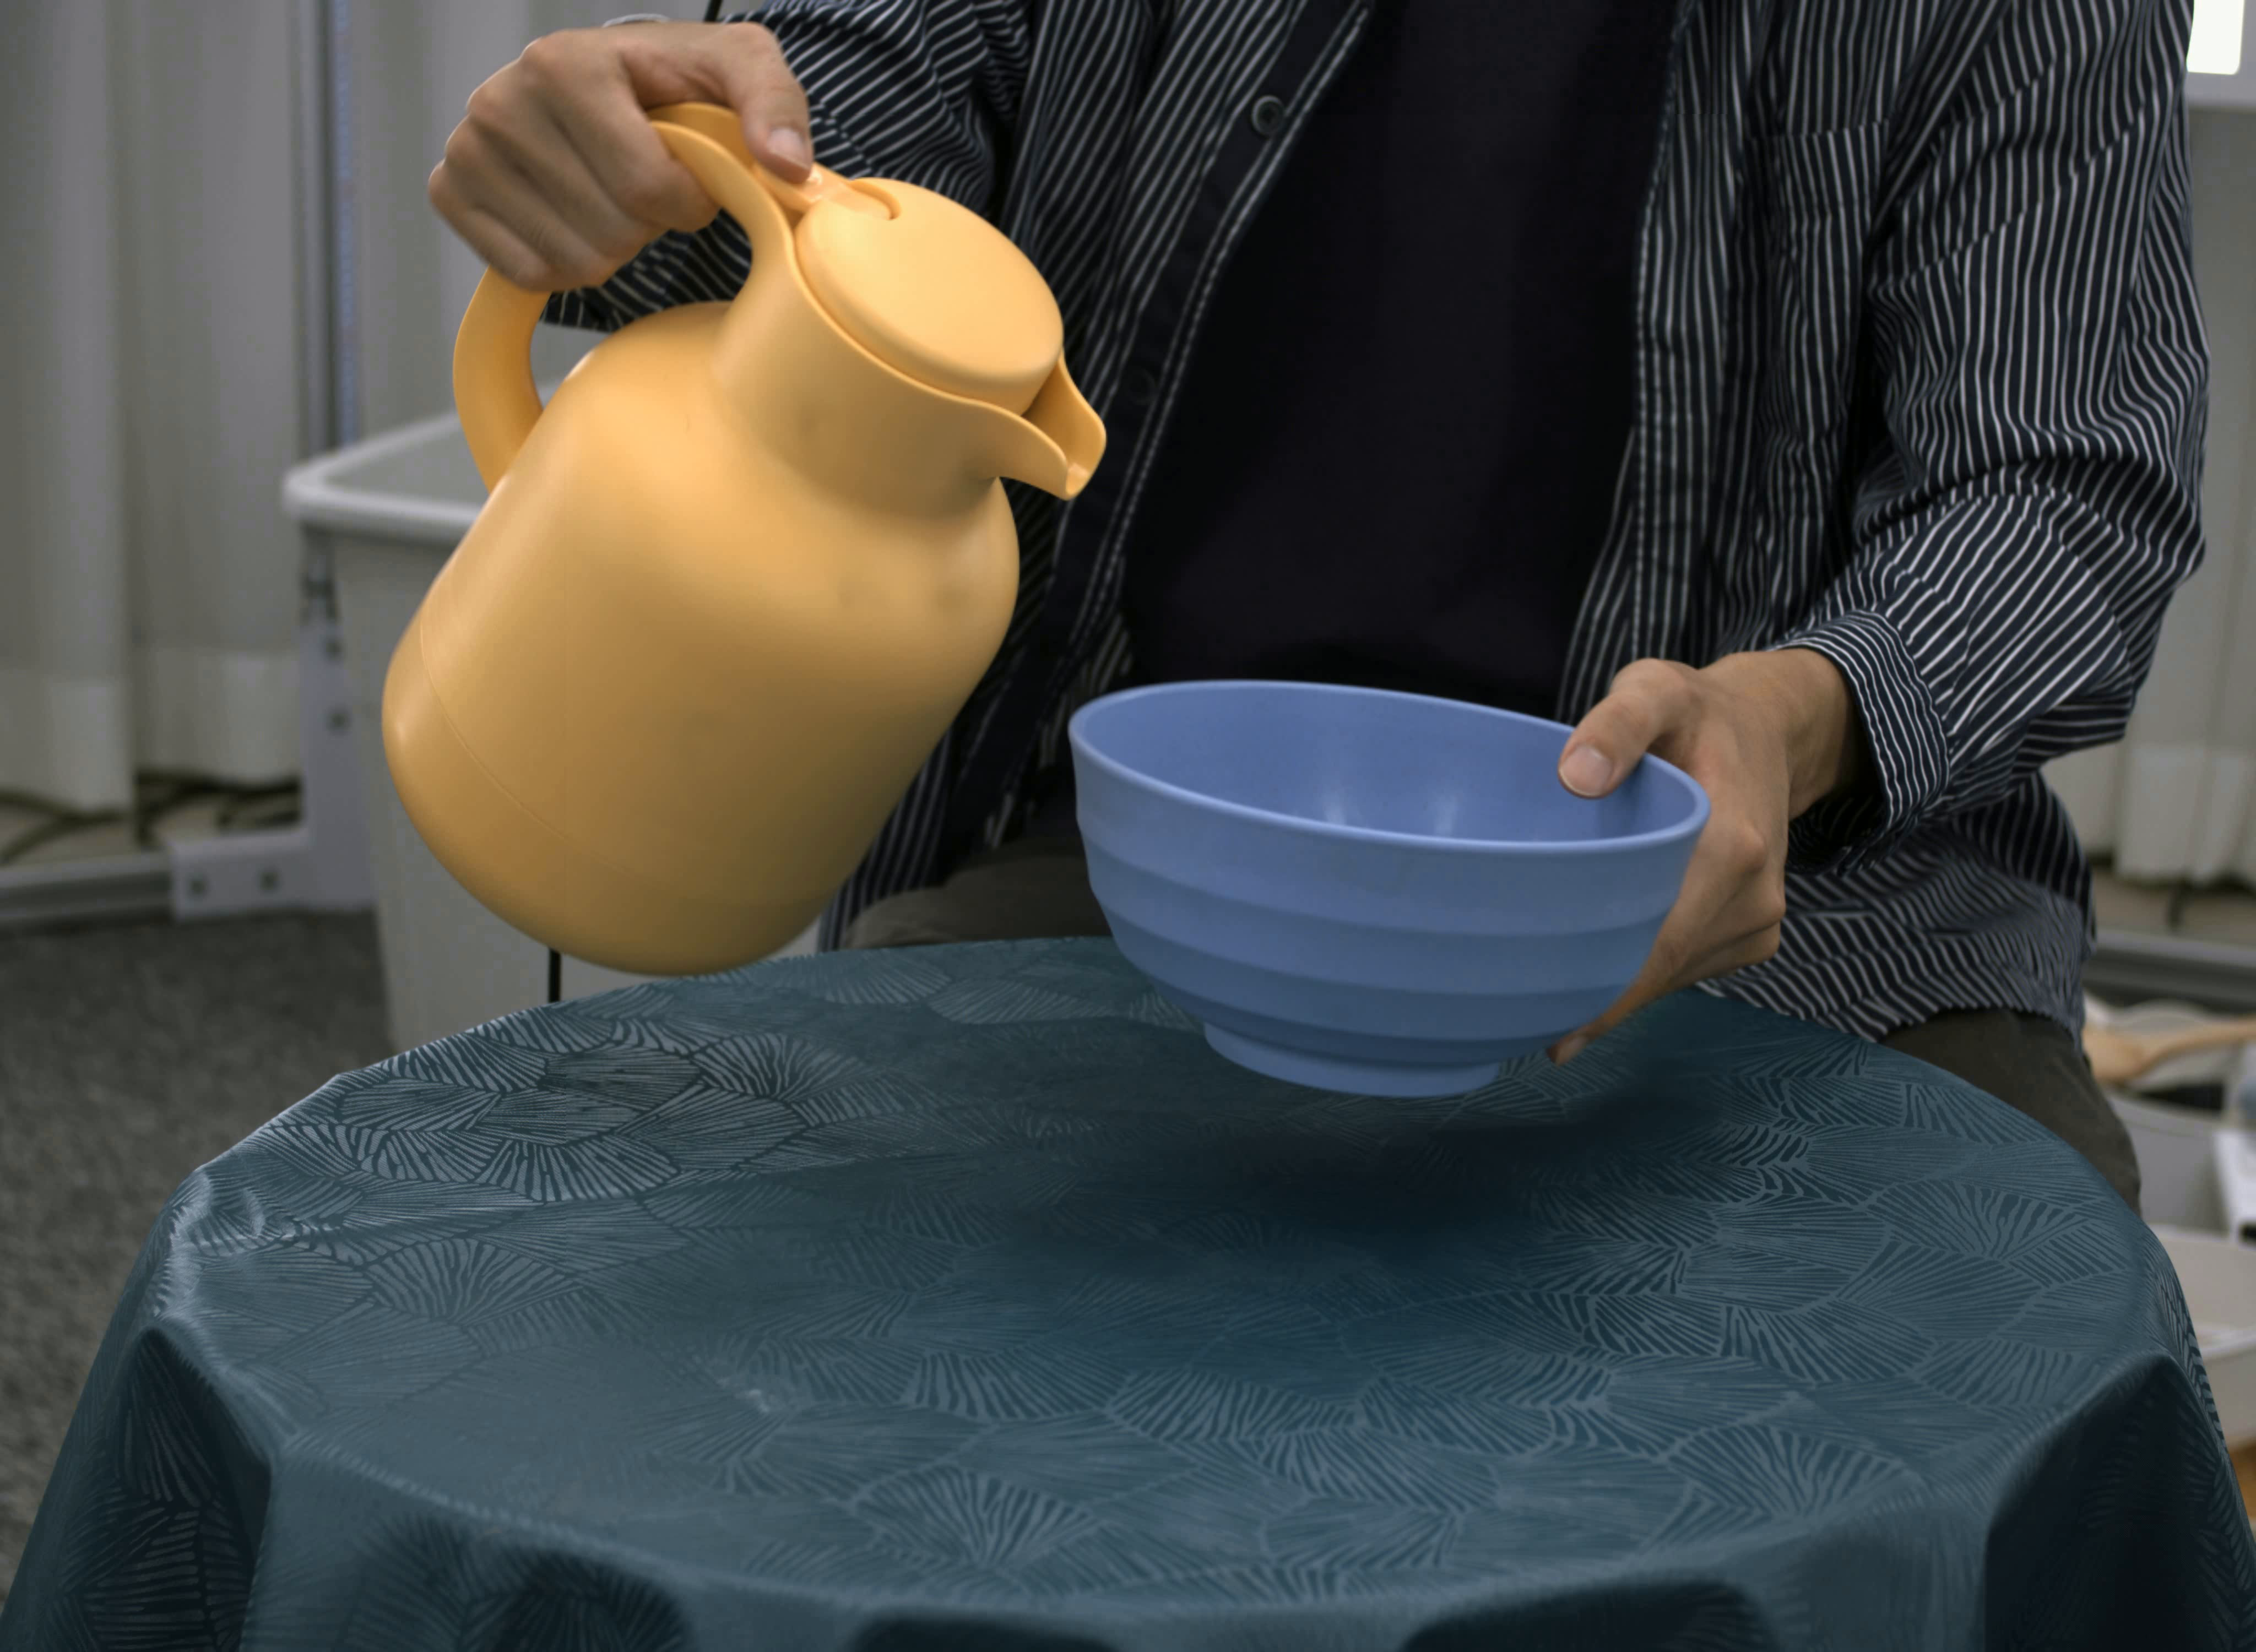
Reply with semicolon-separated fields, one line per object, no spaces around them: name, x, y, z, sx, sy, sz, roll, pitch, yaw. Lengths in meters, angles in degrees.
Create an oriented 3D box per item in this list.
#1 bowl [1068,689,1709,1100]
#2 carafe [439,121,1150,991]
bowl;0.074;0.025;1.610;0.196;0.096;0.195;6;14;-1
carafe;-0.116;-0.093;1.663;0.201;0.261;0.163;41;35;8
